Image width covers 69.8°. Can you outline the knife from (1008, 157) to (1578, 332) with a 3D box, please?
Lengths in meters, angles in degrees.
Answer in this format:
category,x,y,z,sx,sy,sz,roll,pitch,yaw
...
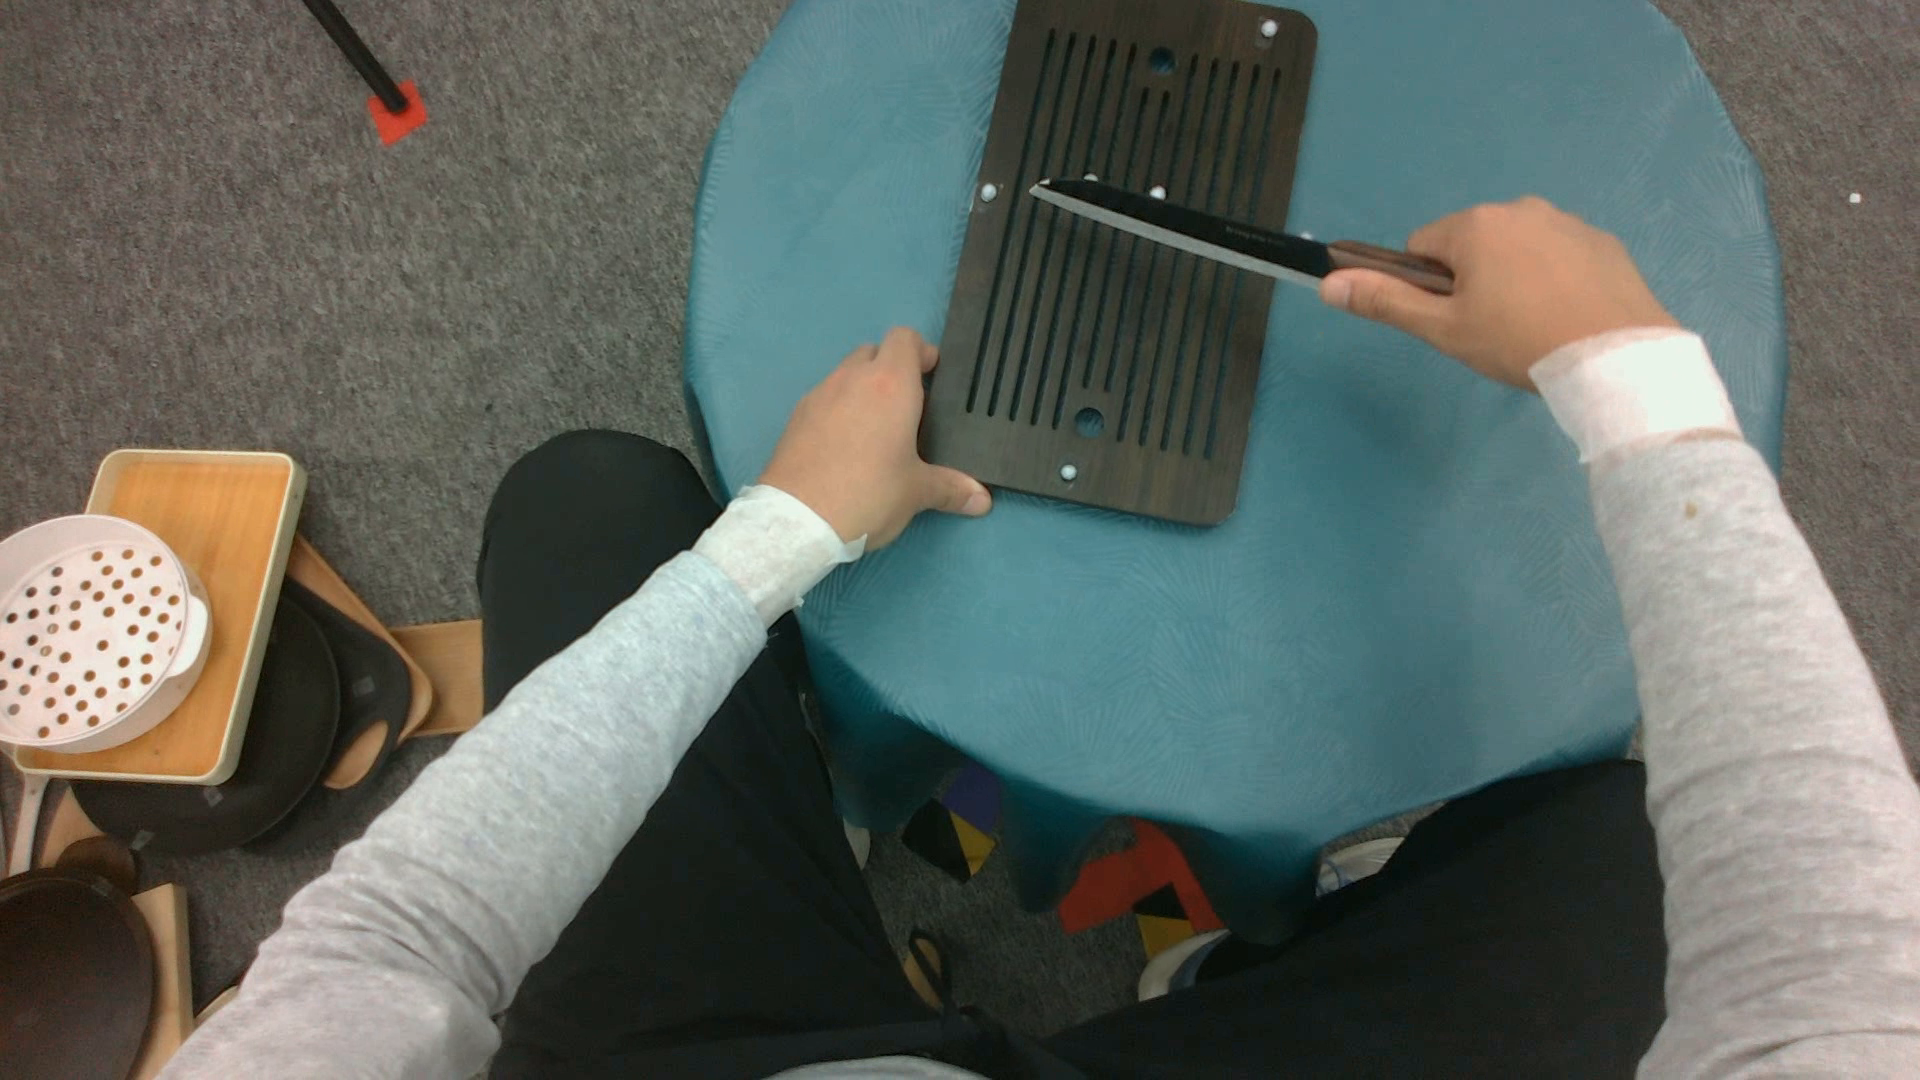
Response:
category,x,y,z,sx,sy,sz,roll,pitch,yaw
knife,0.151,-0.149,0.675,0.289,0.050,0.020,20,74,22

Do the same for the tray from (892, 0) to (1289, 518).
category,x,y,z,sx,sy,sz,roll,pitch,yaw
tray,0.075,-0.170,0.754,0.170,0.018,0.306,11,77,2
